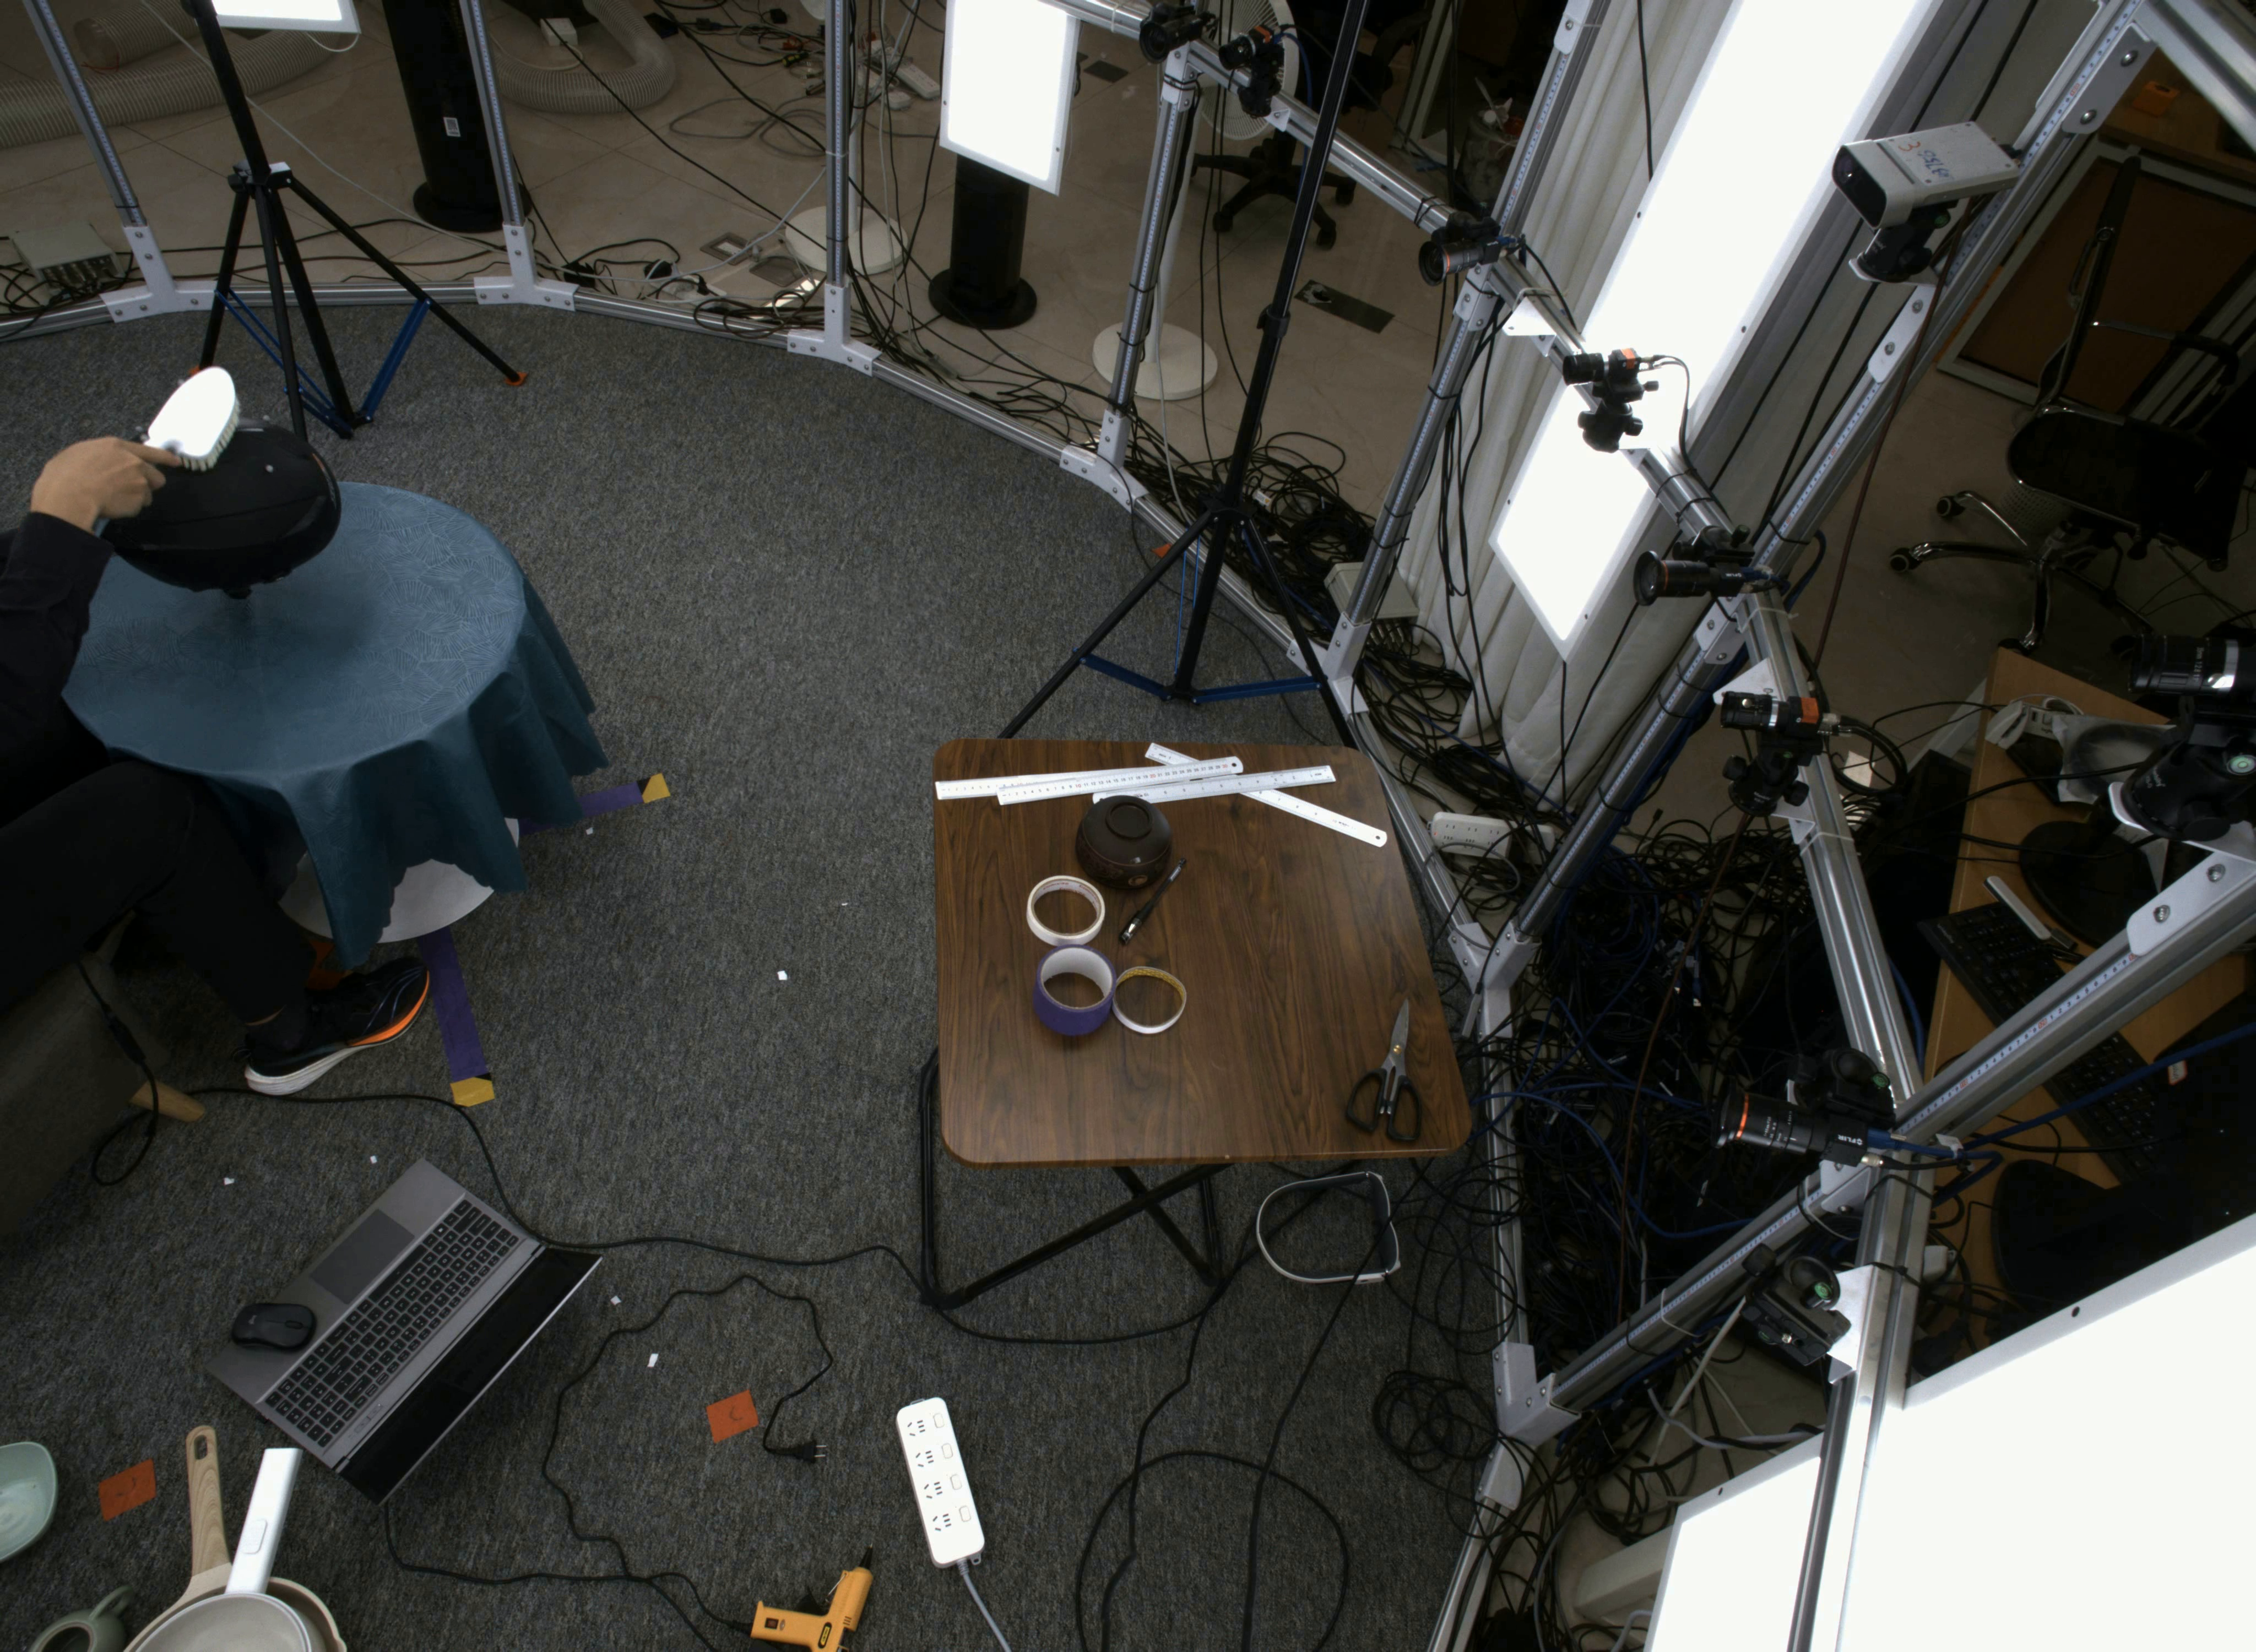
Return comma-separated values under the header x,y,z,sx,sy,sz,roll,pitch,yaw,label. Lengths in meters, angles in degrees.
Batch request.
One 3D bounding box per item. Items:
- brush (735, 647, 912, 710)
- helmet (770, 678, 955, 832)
x,y,z,sx,sy,sz,roll,pitch,yaw,label
-0.440,-0.199,1.872,0.080,0.086,0.328,-1,15,37,brush
-0.405,-0.124,1.991,0.276,0.245,0.174,7,-19,-8,helmet
